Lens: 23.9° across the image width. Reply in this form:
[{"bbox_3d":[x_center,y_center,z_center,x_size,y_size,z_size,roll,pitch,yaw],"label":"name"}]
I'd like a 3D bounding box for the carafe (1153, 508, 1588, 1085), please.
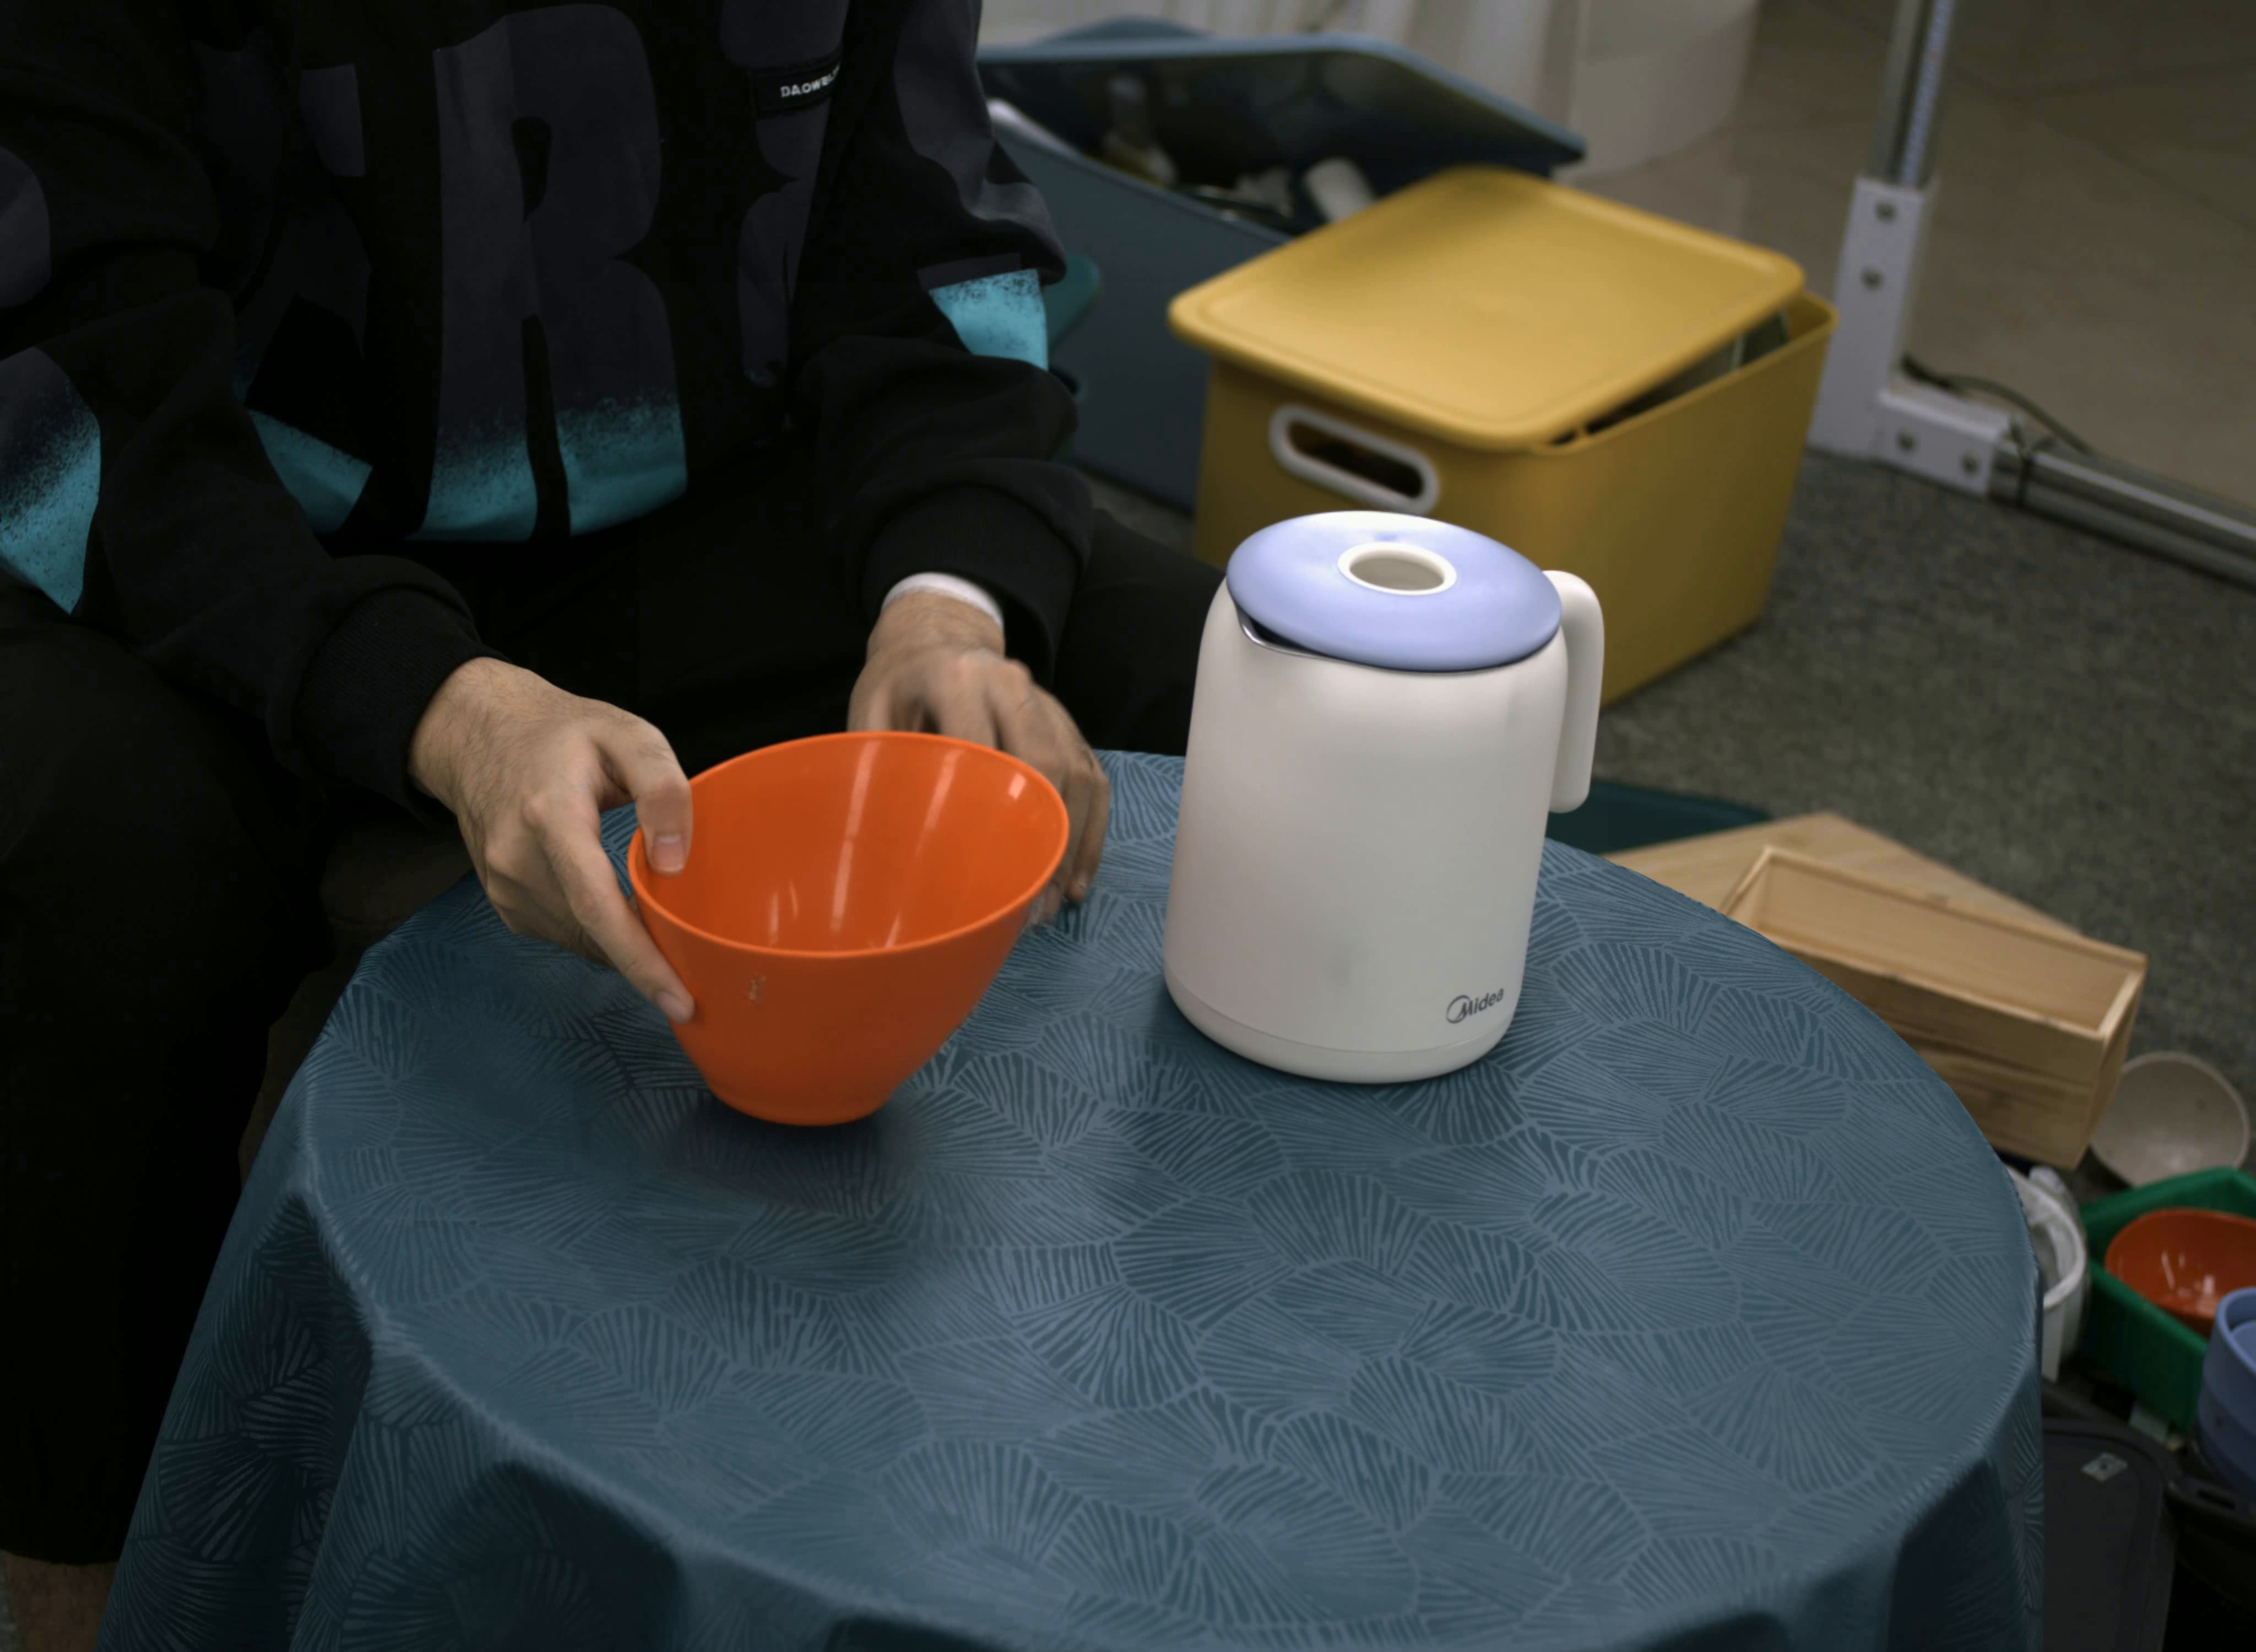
[{"bbox_3d":[0.100,-0.017,1.910,0.133,0.182,0.190,30,32,36],"label":"carafe"}]

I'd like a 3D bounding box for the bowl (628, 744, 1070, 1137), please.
[{"bbox_3d":[-0.098,0.044,1.805,0.147,0.104,0.149,6,26,-3],"label":"bowl"}]
